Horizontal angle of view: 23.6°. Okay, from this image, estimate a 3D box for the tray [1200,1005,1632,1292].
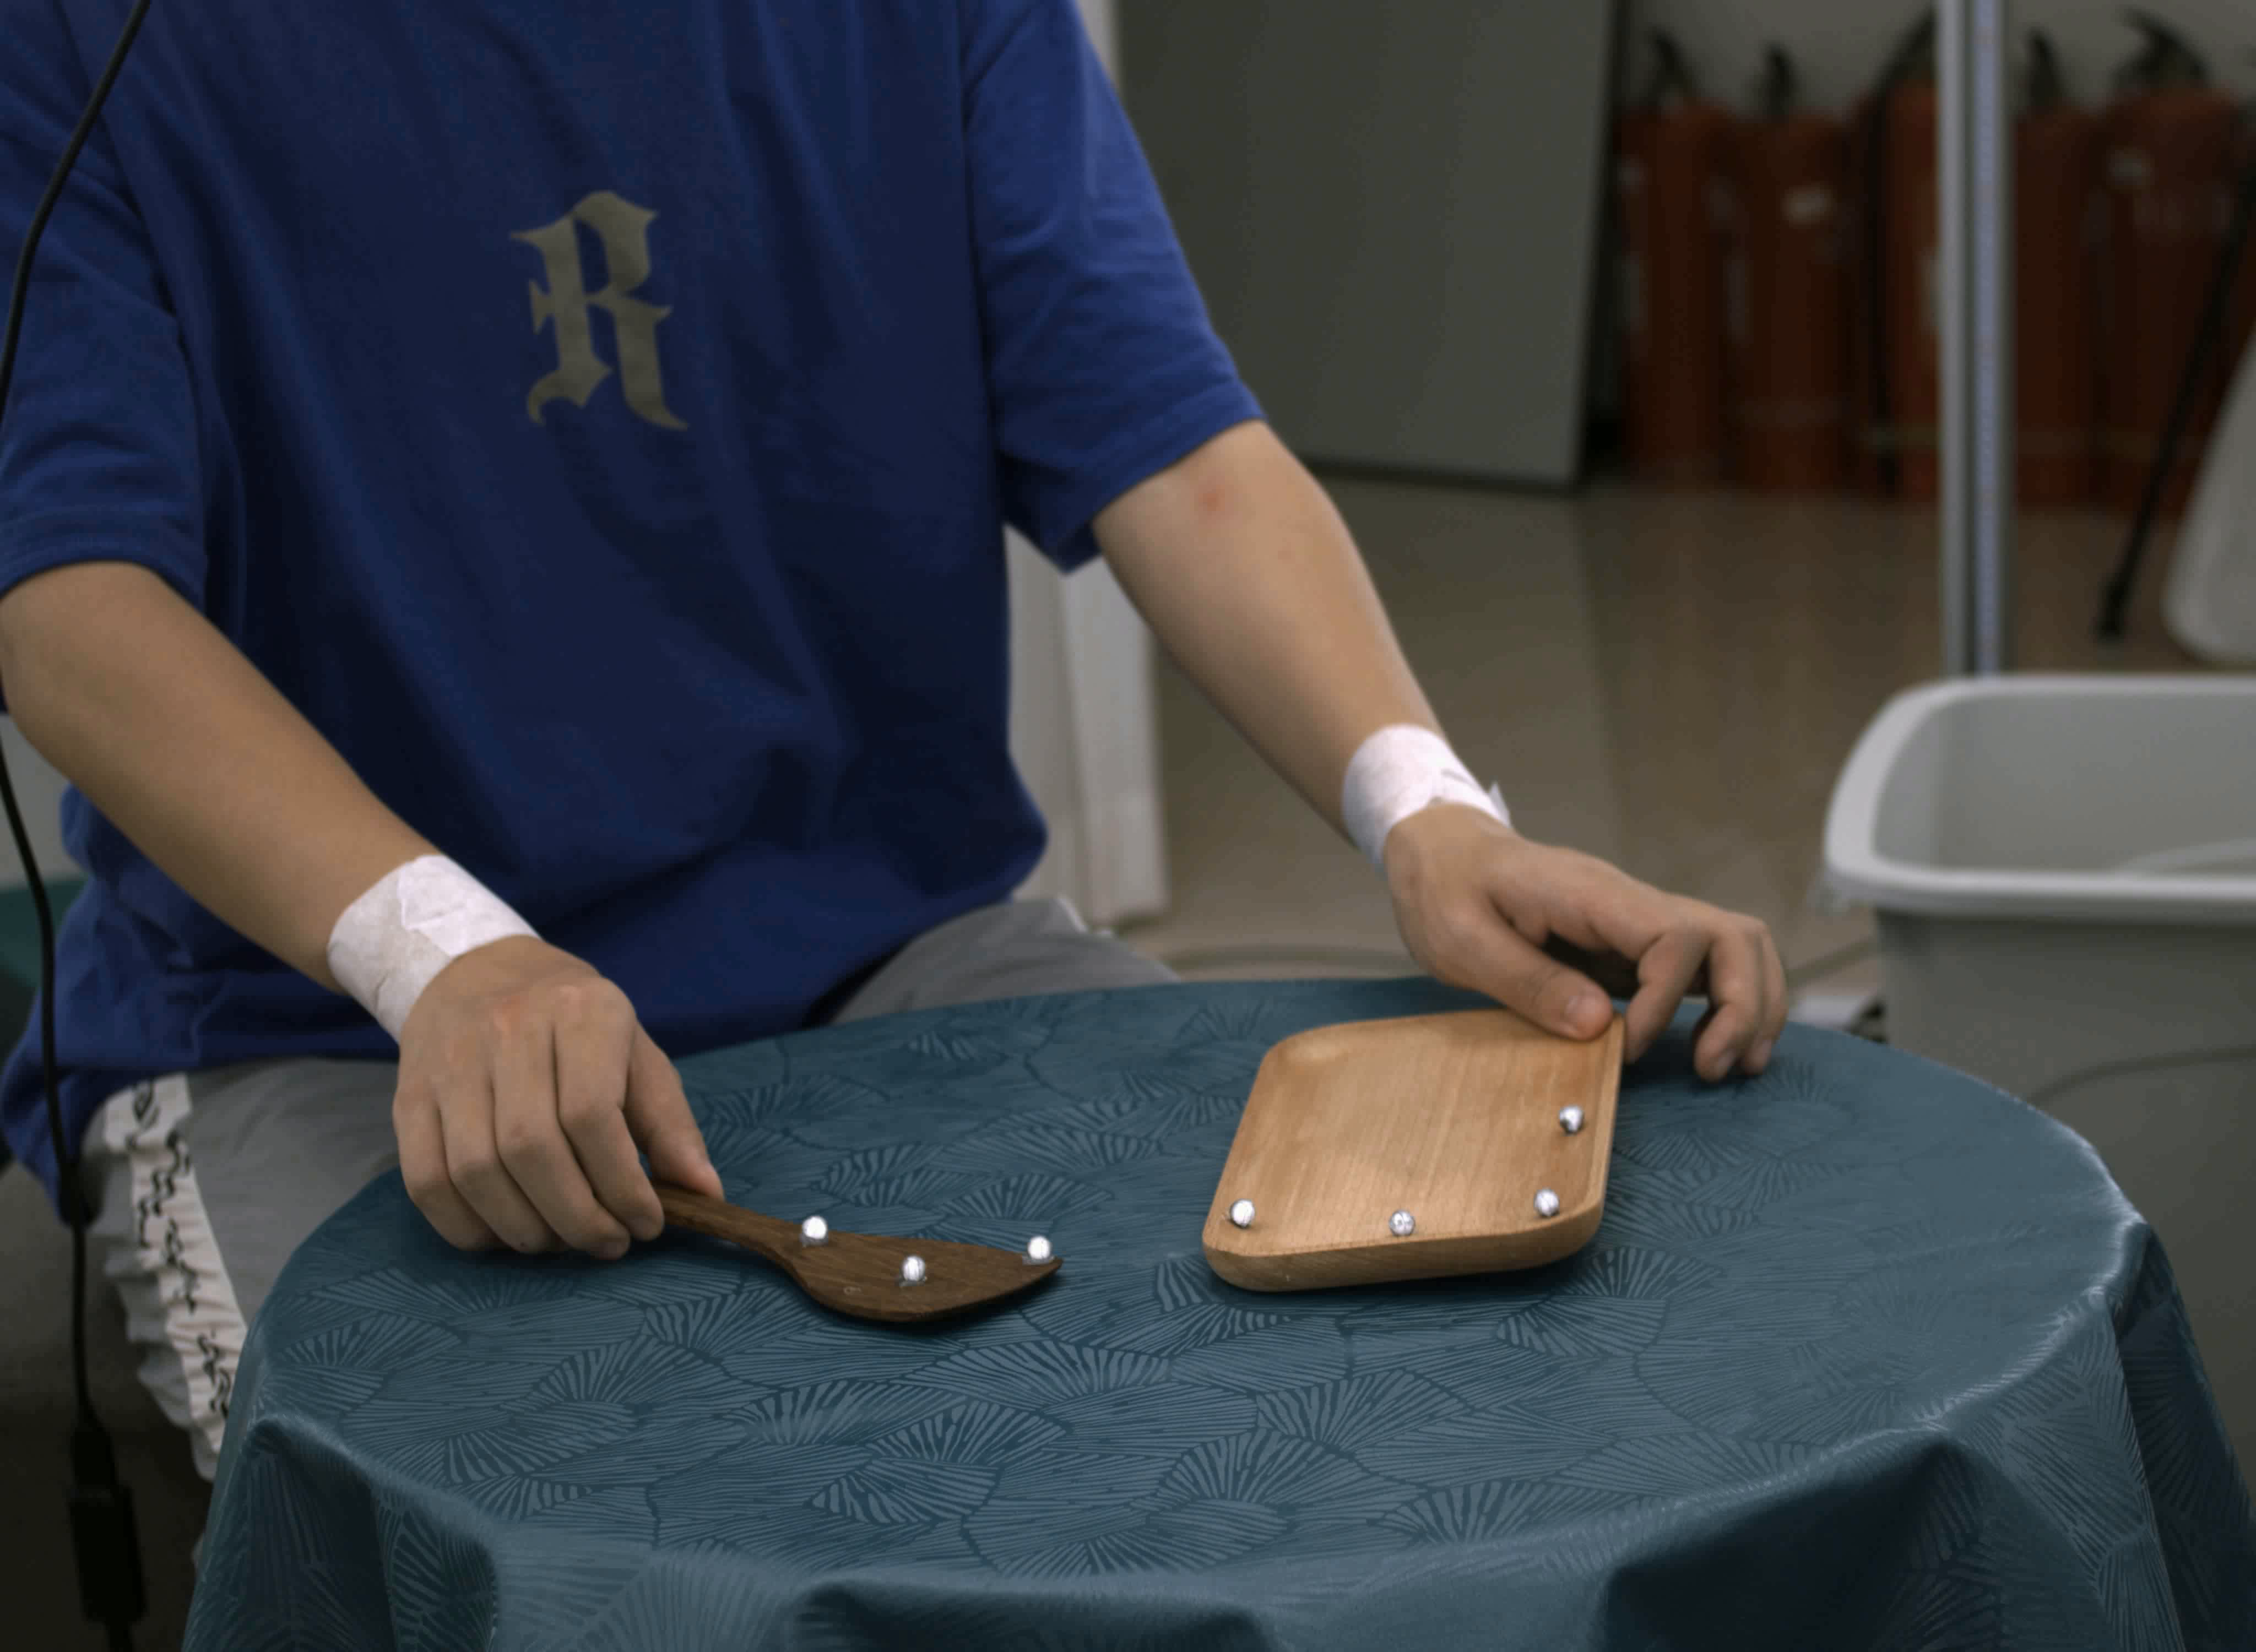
[{"bbox_3d":[0.098,0.103,1.764,0.129,0.023,0.250,-3,13,10],"label":"tray"}]

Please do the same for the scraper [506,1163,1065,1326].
[{"bbox_3d":[-0.117,0.131,1.725,0.213,0.011,0.074,11,17,38],"label":"scraper"}]
